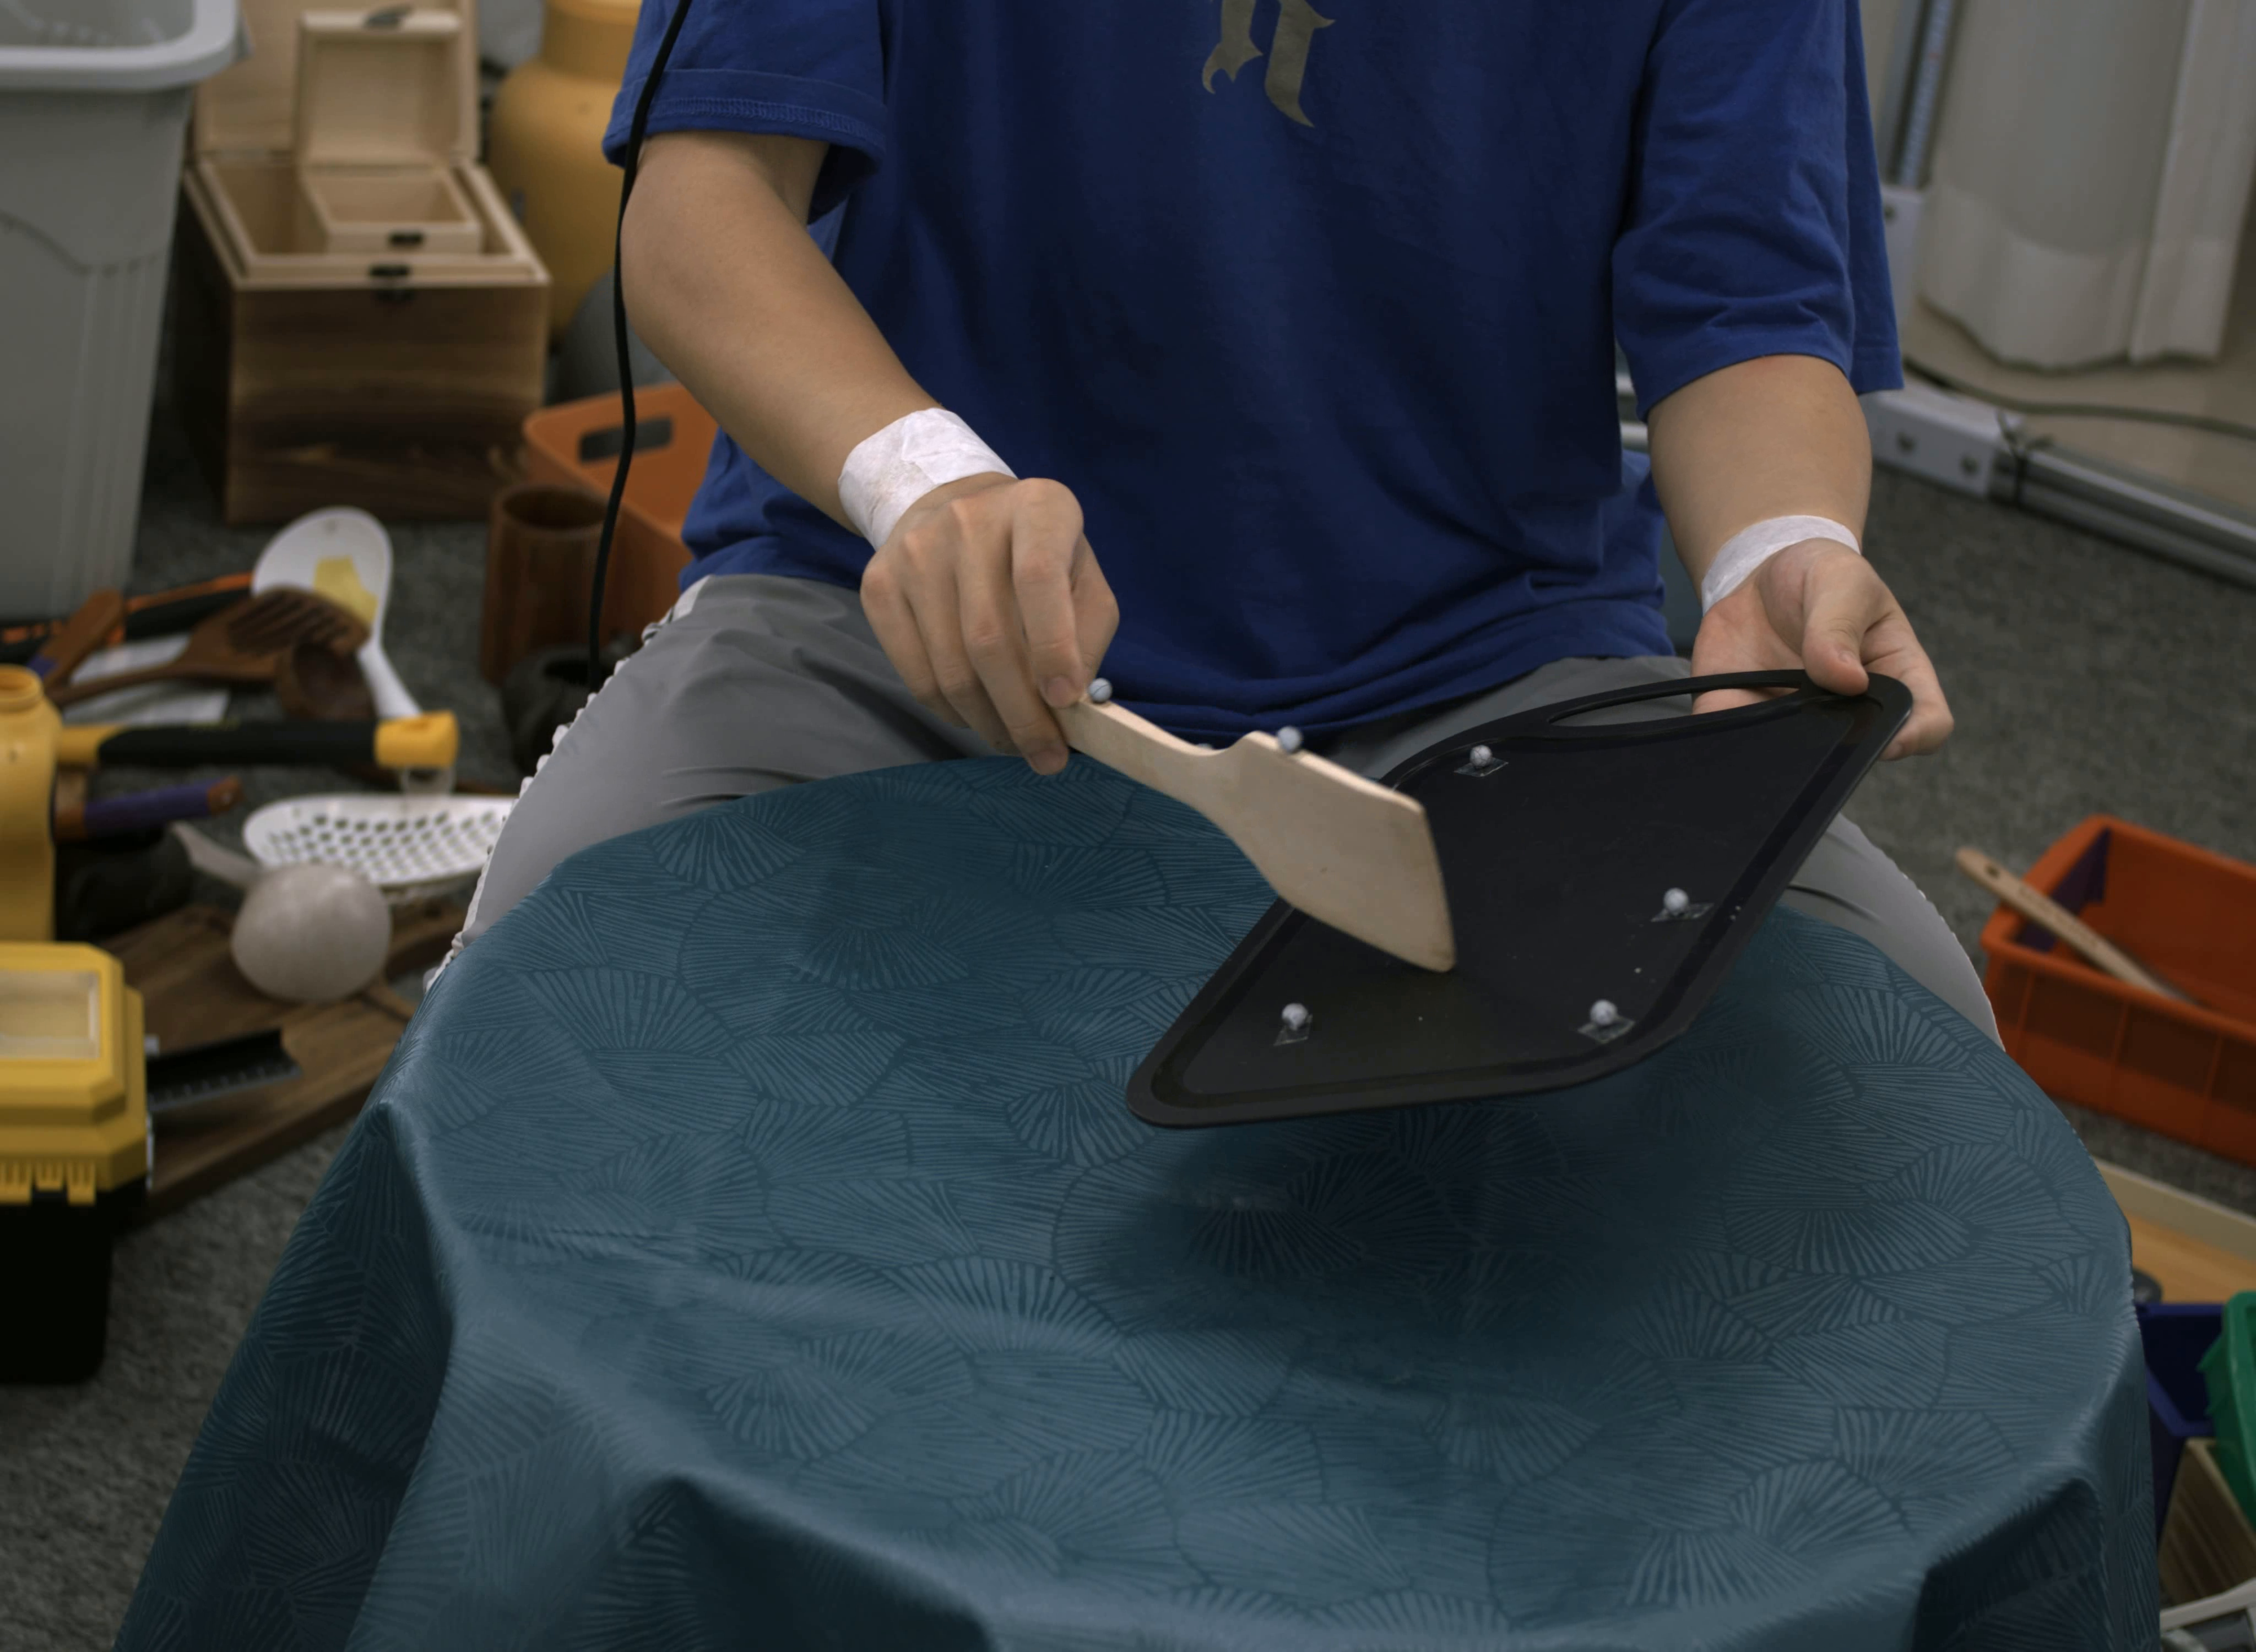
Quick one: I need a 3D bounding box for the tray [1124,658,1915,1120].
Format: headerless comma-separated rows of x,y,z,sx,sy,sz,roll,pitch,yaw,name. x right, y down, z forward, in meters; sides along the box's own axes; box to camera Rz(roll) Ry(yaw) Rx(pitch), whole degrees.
0.139,0.015,1.816,0.212,0.010,0.325,-8,23,32,tray

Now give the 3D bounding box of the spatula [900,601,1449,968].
0.008,-0.027,1.852,0.010,0.072,0.295,-32,37,-26,spatula
